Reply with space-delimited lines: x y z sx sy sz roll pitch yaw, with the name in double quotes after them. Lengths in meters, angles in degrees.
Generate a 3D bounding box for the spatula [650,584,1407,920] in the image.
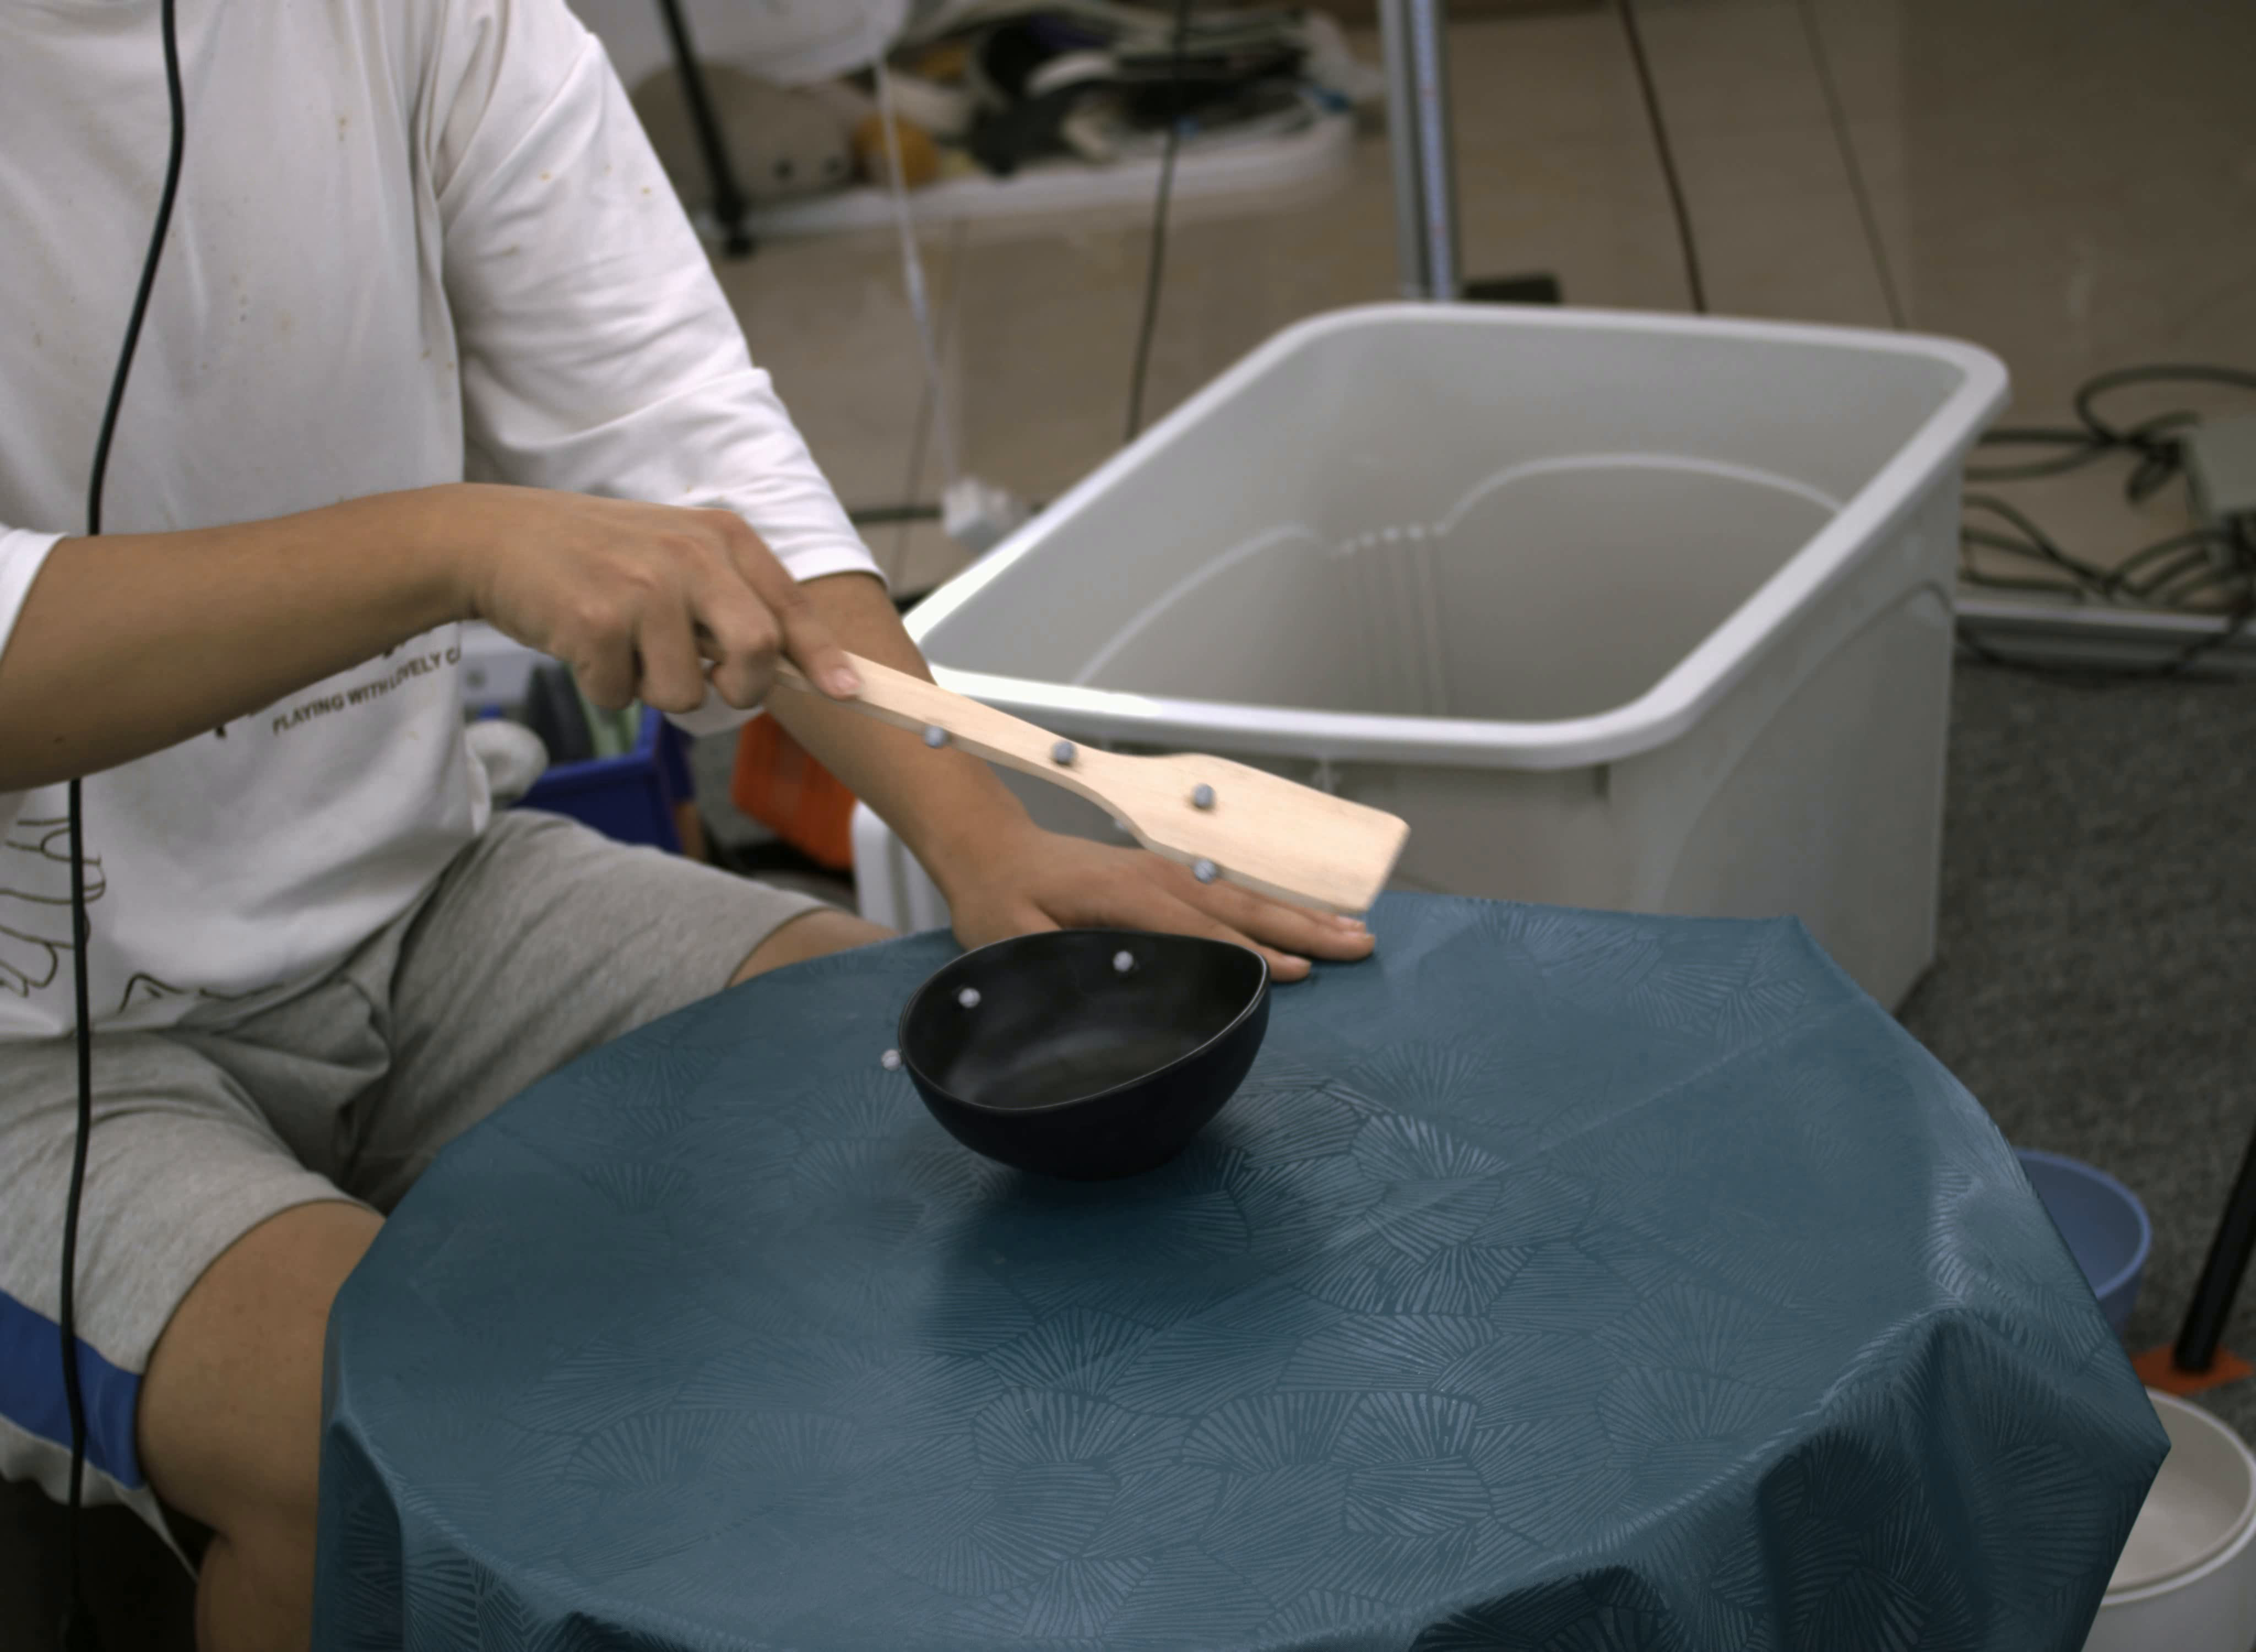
-0.041 -0.031 2.084 0.292 0.011 0.071 21 34 6 "spatula"

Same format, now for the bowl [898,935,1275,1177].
-0.013 0.092 2.174 0.137 0.068 0.168 6 26 26 "bowl"
